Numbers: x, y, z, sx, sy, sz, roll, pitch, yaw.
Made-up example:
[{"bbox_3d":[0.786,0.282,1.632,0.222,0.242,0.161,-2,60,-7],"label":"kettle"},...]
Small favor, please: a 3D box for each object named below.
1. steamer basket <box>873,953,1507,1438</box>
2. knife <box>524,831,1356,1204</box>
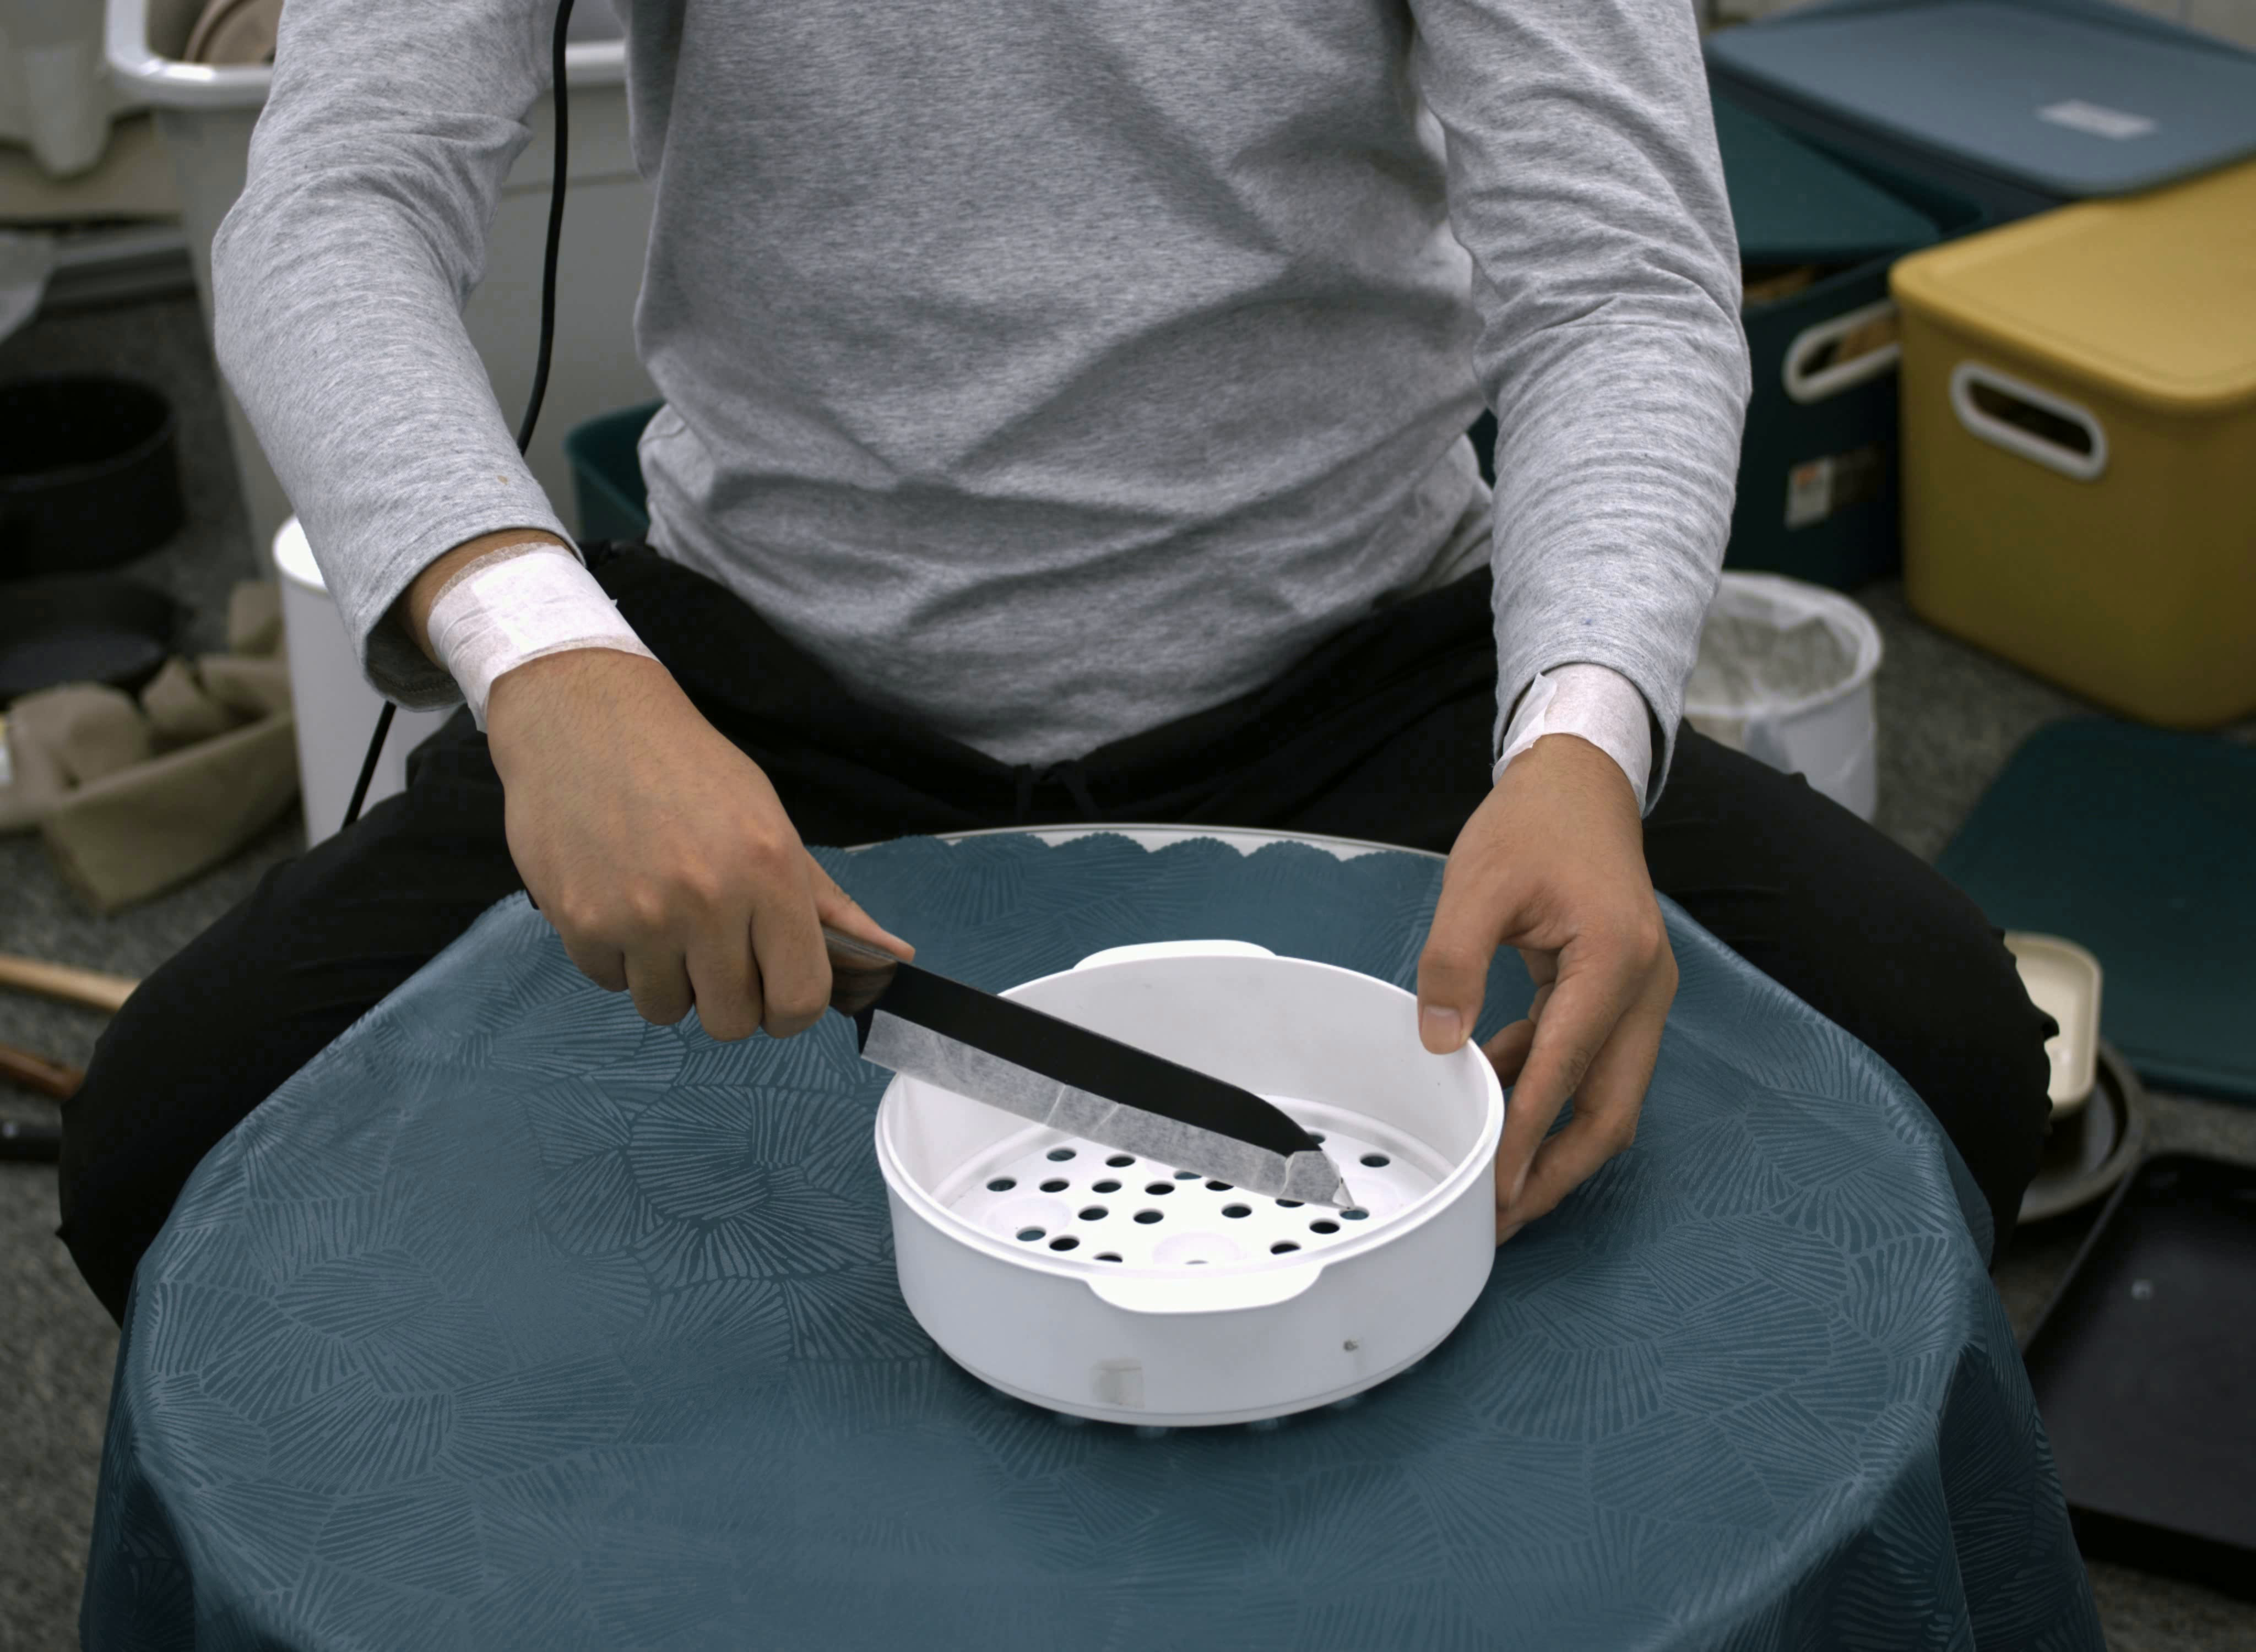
[{"bbox_3d":[0.020,0.119,1.792,0.201,0.068,0.234,-3,26,-1],"label":"steamer basket"},{"bbox_3d":[-0.060,0.063,1.792,0.288,0.049,0.020,22,38,4],"label":"knife"}]
